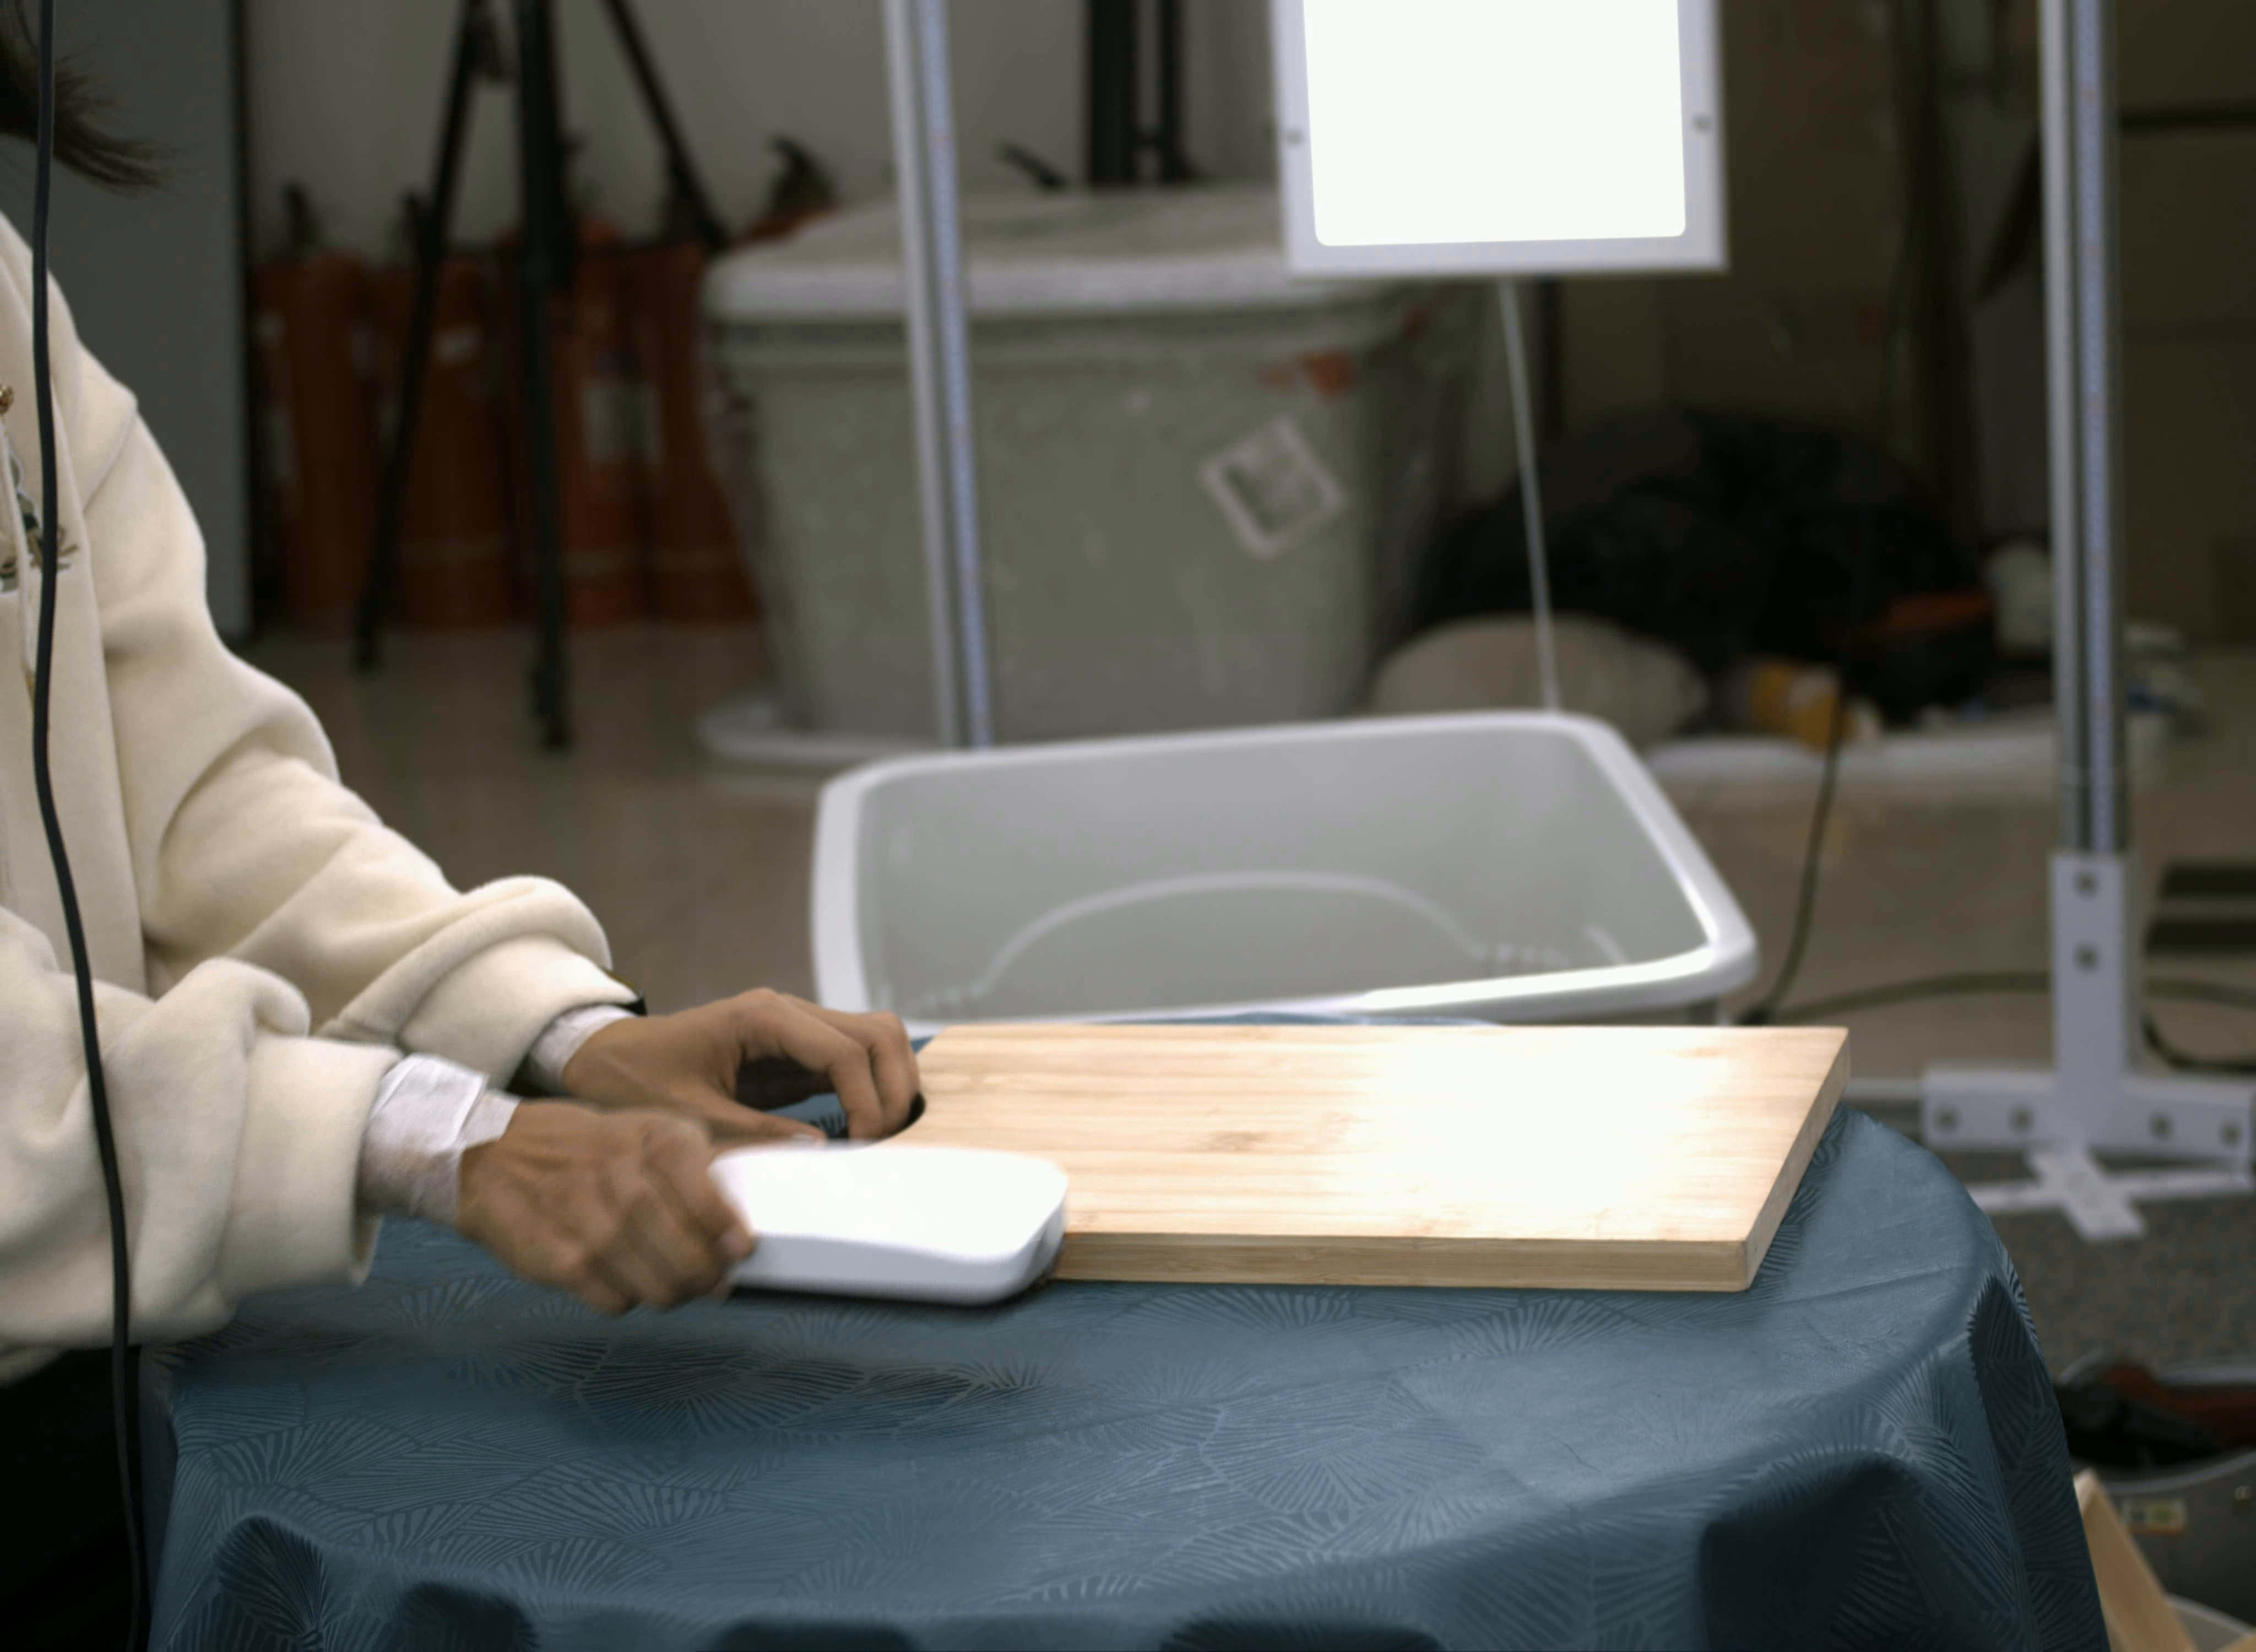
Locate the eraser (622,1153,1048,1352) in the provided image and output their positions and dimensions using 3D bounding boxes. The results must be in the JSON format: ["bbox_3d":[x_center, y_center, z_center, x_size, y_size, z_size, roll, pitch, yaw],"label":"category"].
[{"bbox_3d":[-0.090,0.132,1.719,0.133,0.034,0.062,5,24,26],"label":"eraser"}]

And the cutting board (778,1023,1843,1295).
[{"bbox_3d":[0.060,0.112,1.903,0.352,0.023,0.247,-1,14,17],"label":"cutting board"}]
